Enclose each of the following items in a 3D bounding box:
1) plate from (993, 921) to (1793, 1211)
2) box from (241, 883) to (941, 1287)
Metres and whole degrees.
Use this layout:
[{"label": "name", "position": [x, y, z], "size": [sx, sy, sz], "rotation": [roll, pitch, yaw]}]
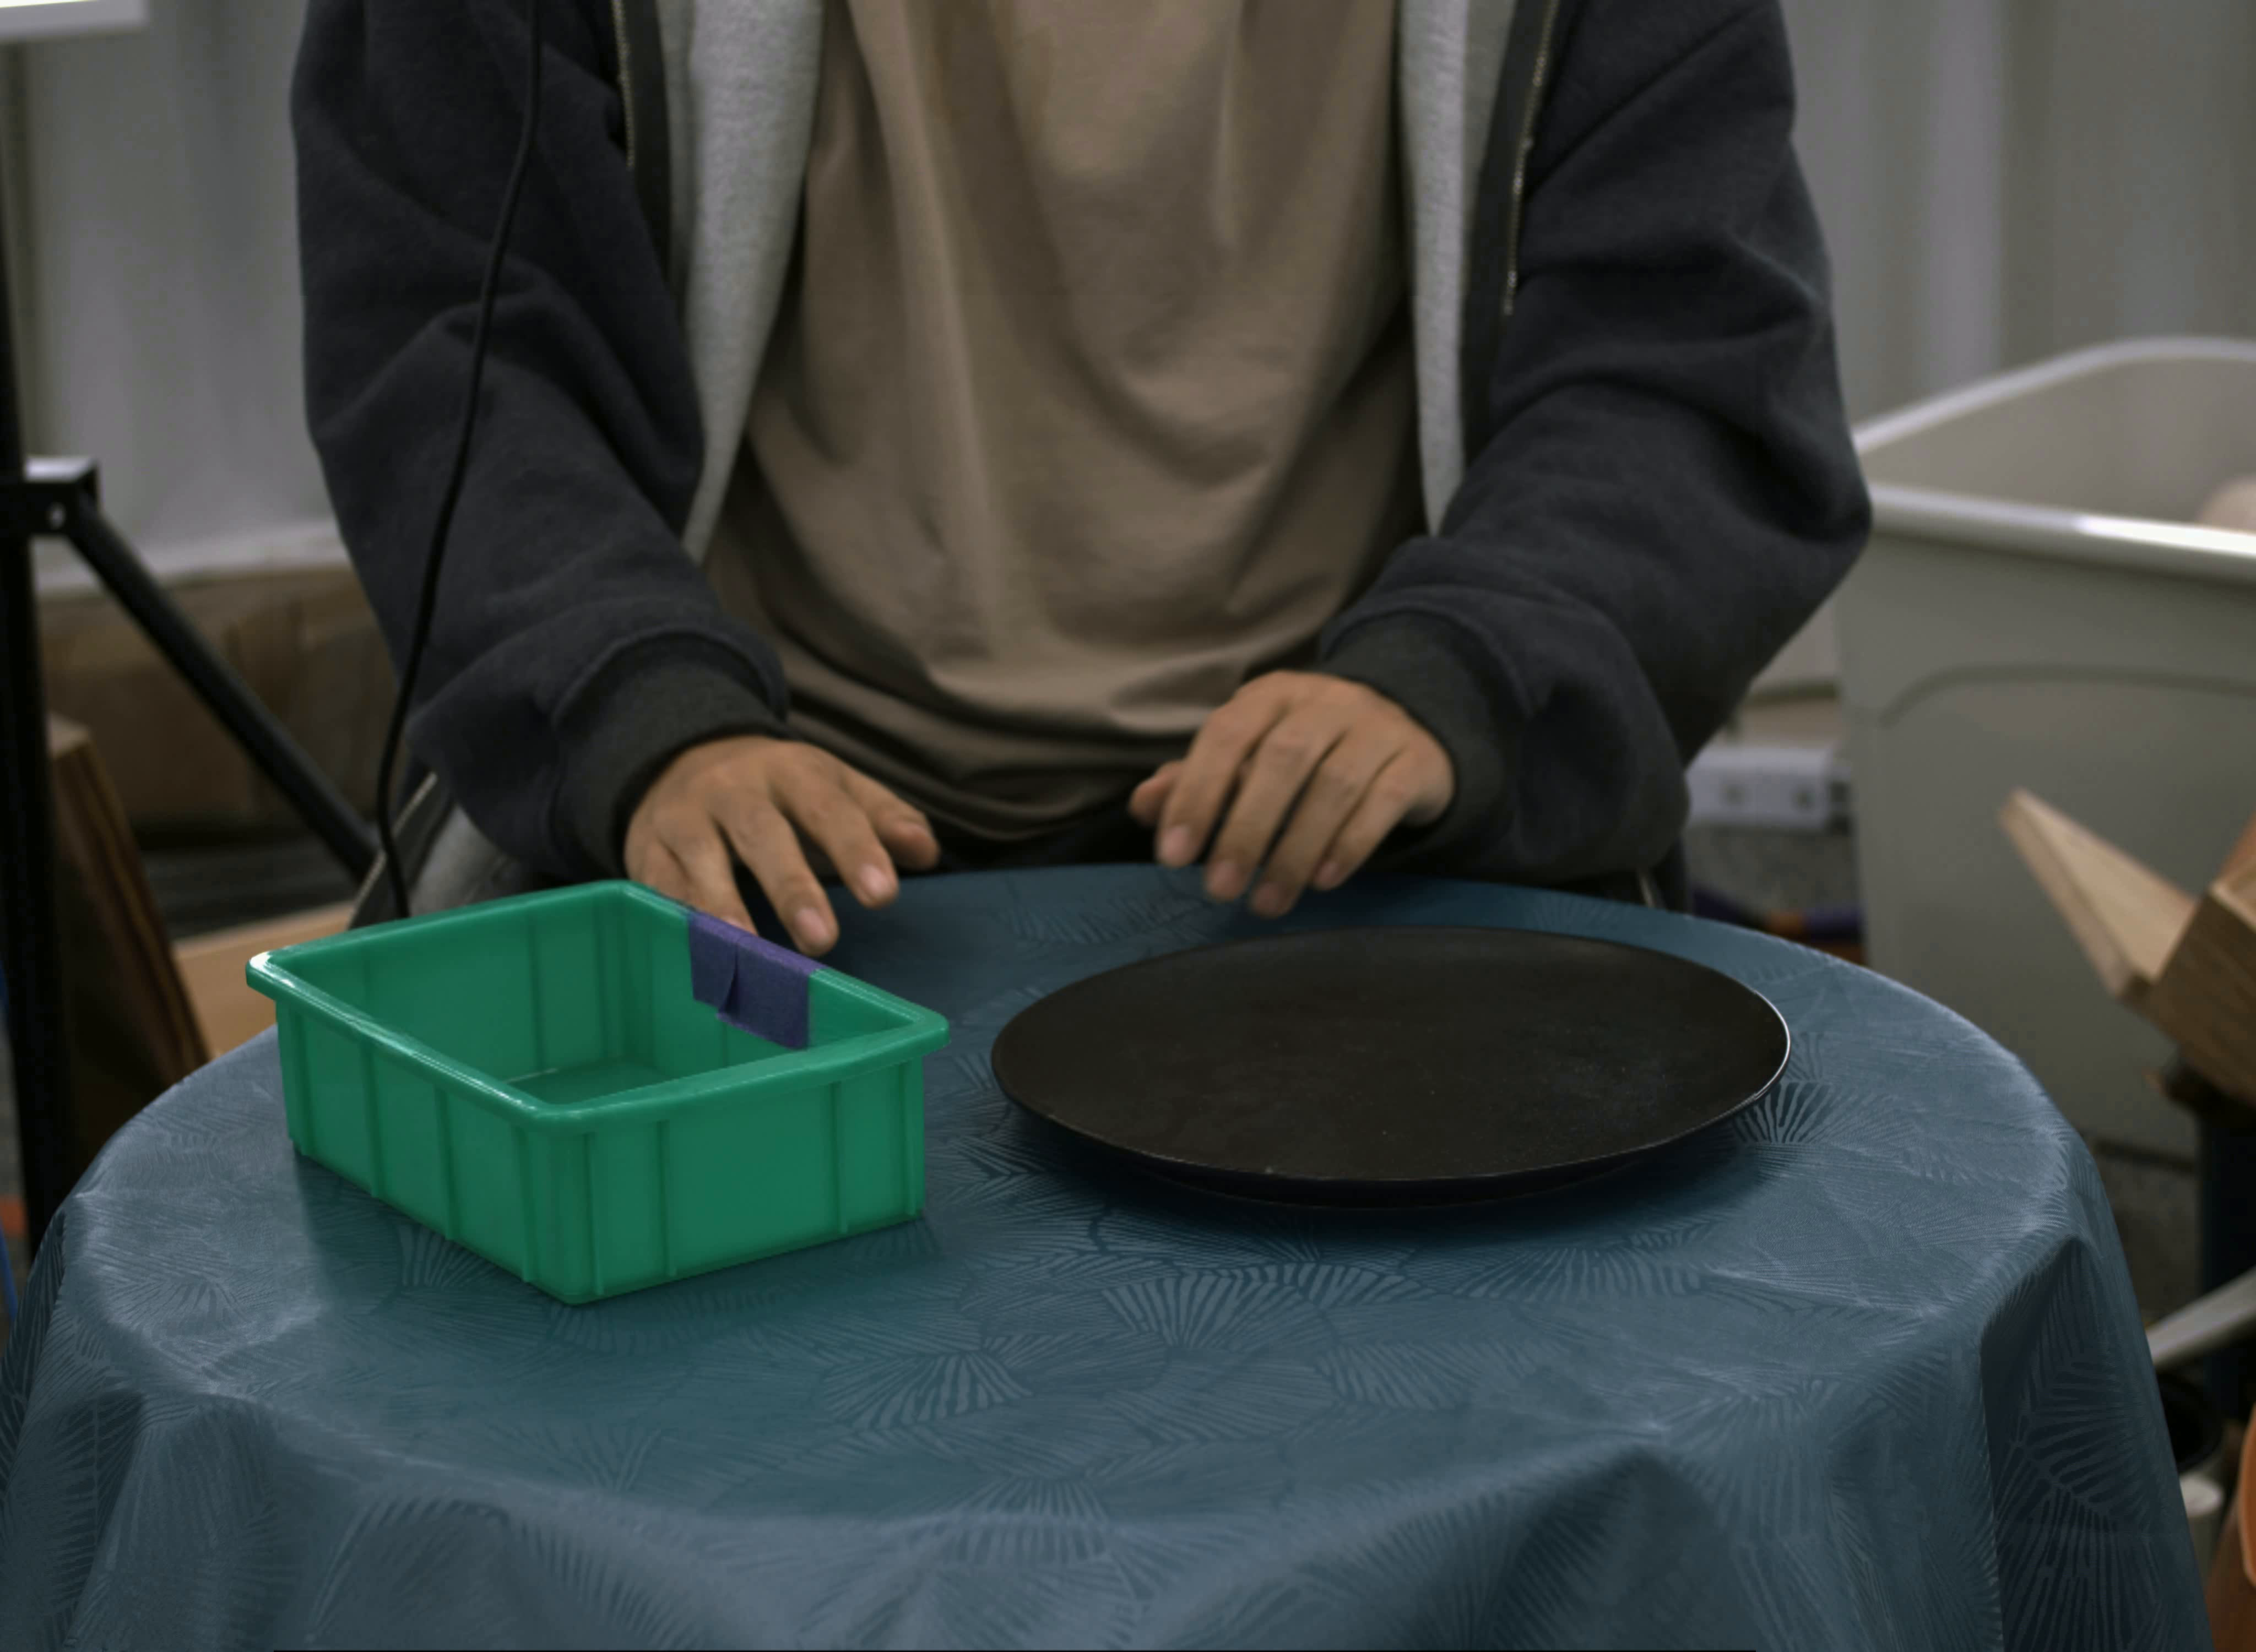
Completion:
[{"label": "plate", "position": [0.080, 0.076, 1.618], "size": [0.243, 0.023, 0.245], "rotation": [-3, 16, 0]}, {"label": "box", "position": [-0.160, 0.075, 1.587], "size": [0.135, 0.065, 0.215], "rotation": [-11, 15, -33]}]
